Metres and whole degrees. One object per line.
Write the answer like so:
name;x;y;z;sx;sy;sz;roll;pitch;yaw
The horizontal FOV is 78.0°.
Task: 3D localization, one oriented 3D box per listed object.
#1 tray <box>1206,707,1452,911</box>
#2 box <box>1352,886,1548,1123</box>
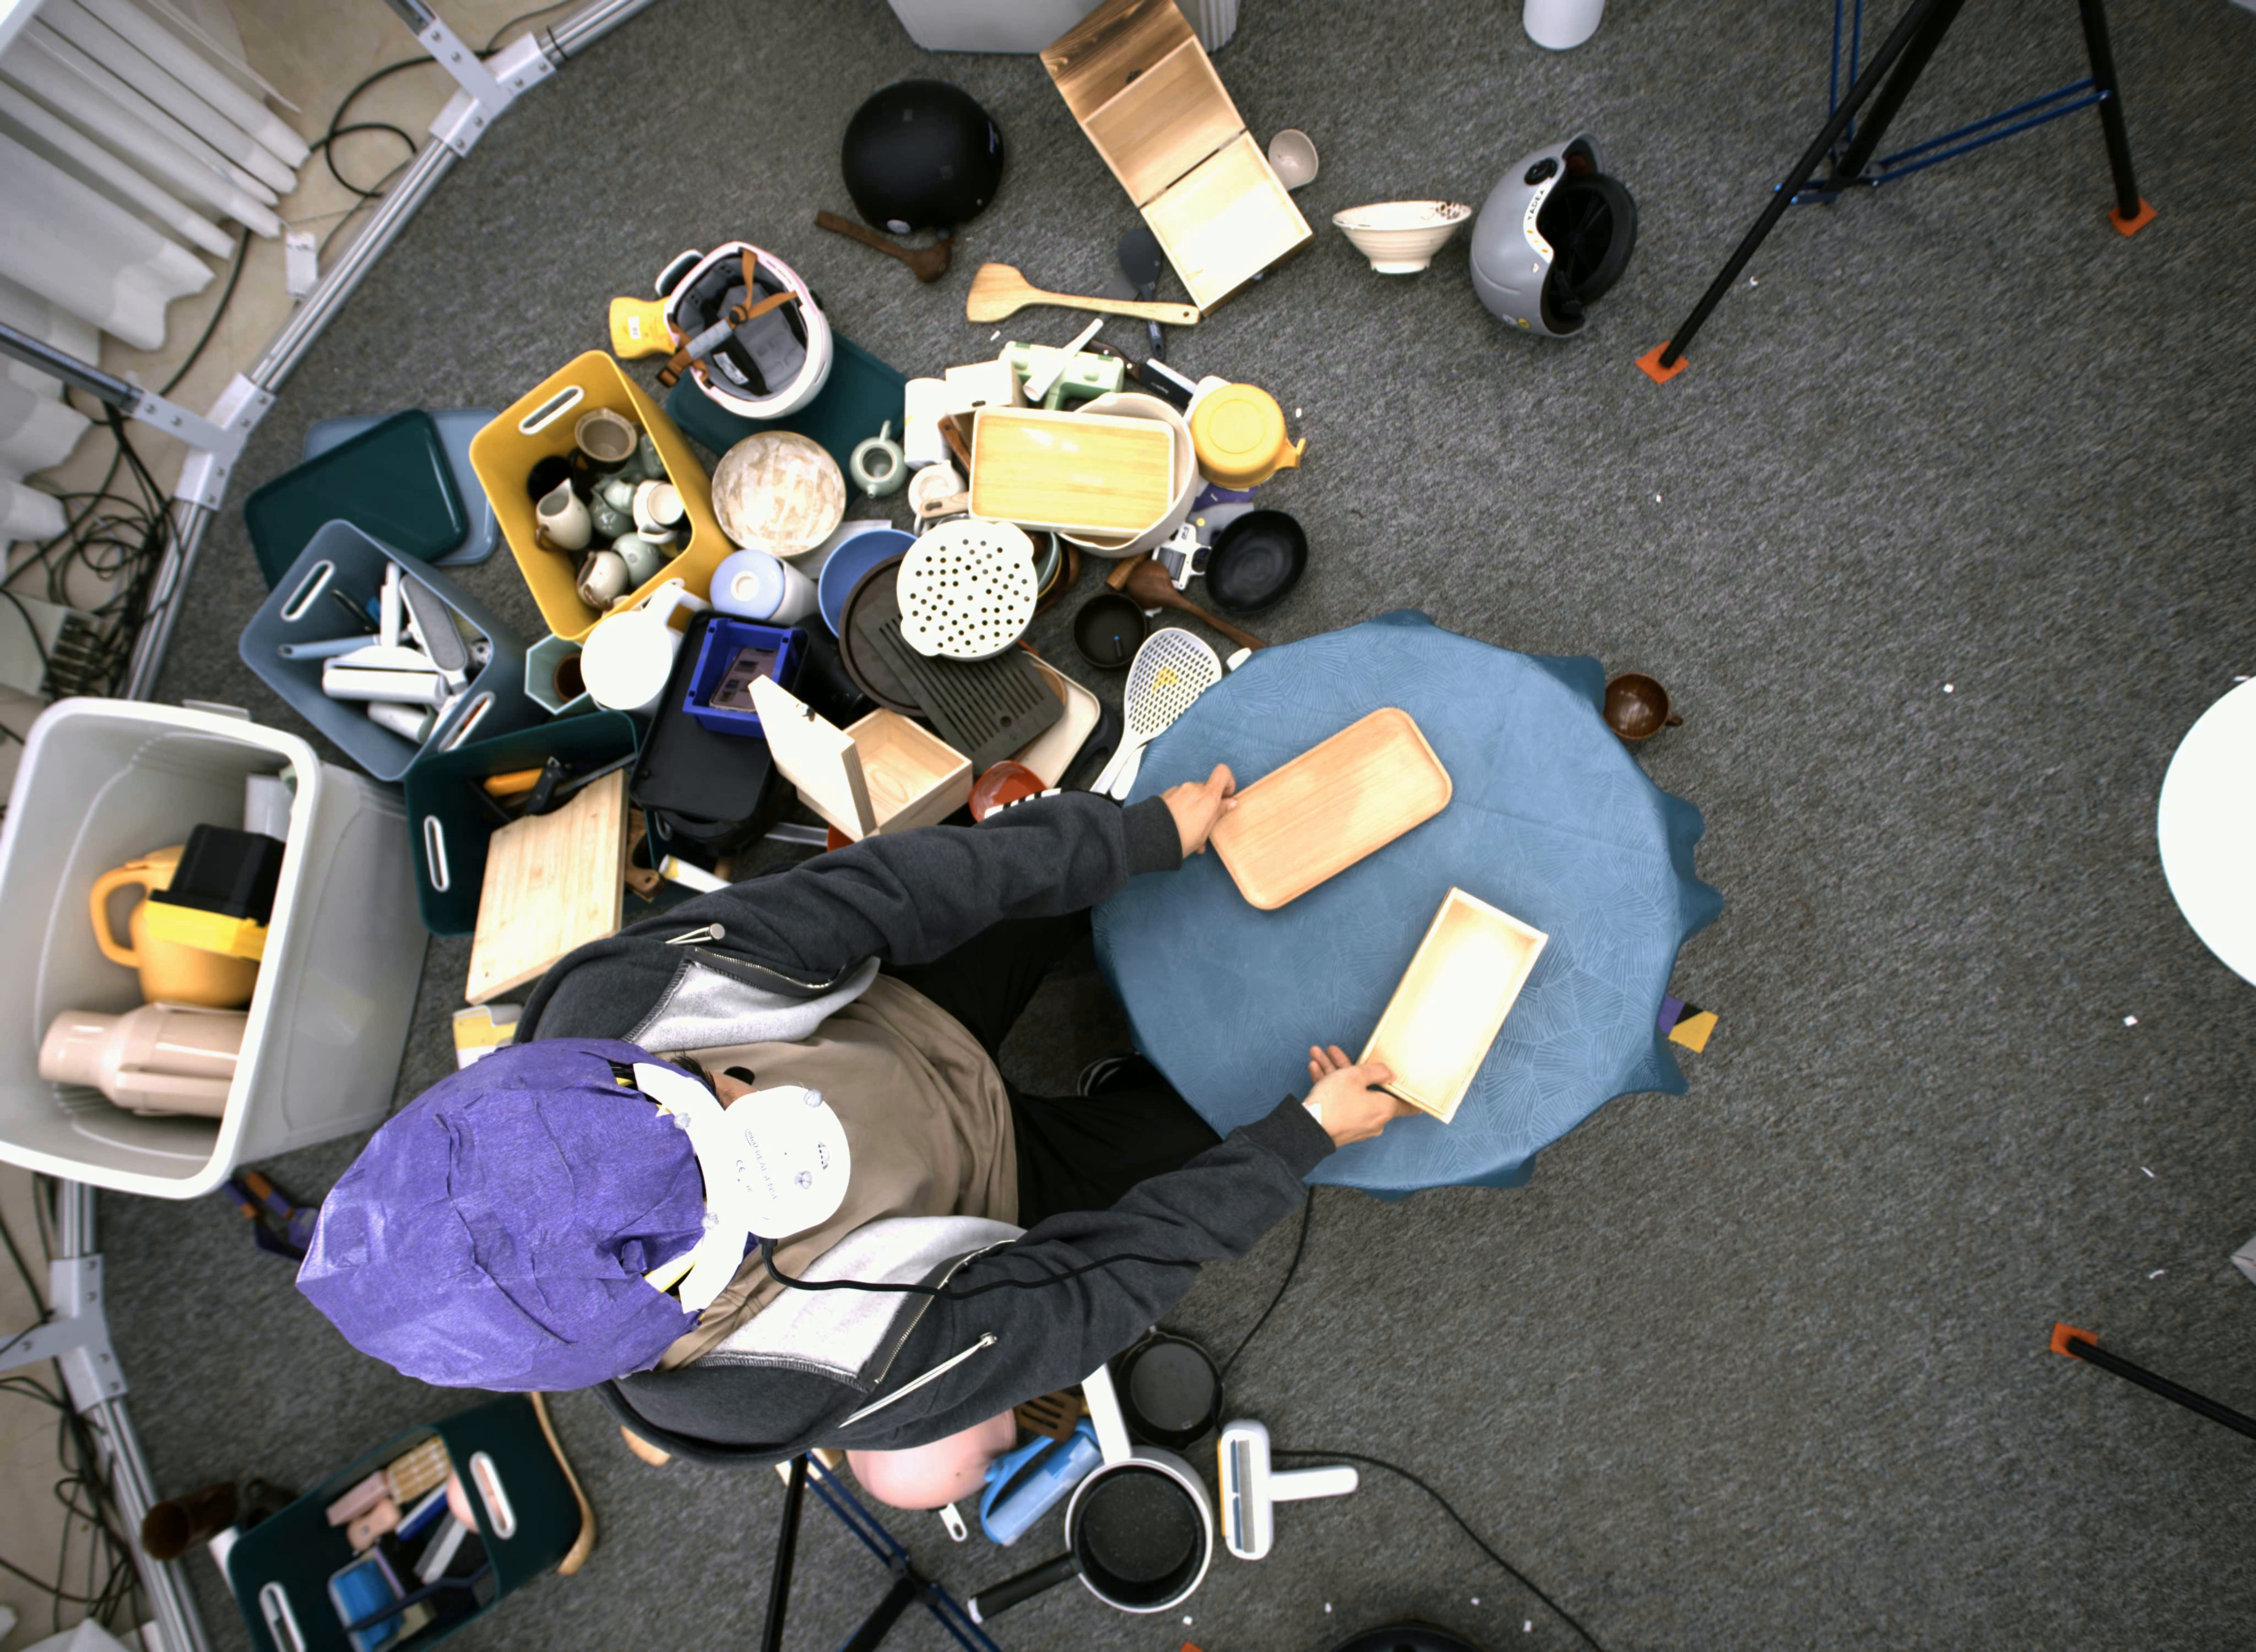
tray;0.211;-0.019;1.456;0.251;0.023;0.129;-31;80;3
box;0.325;0.178;1.403;0.107;0.080;0.211;29;92;11
